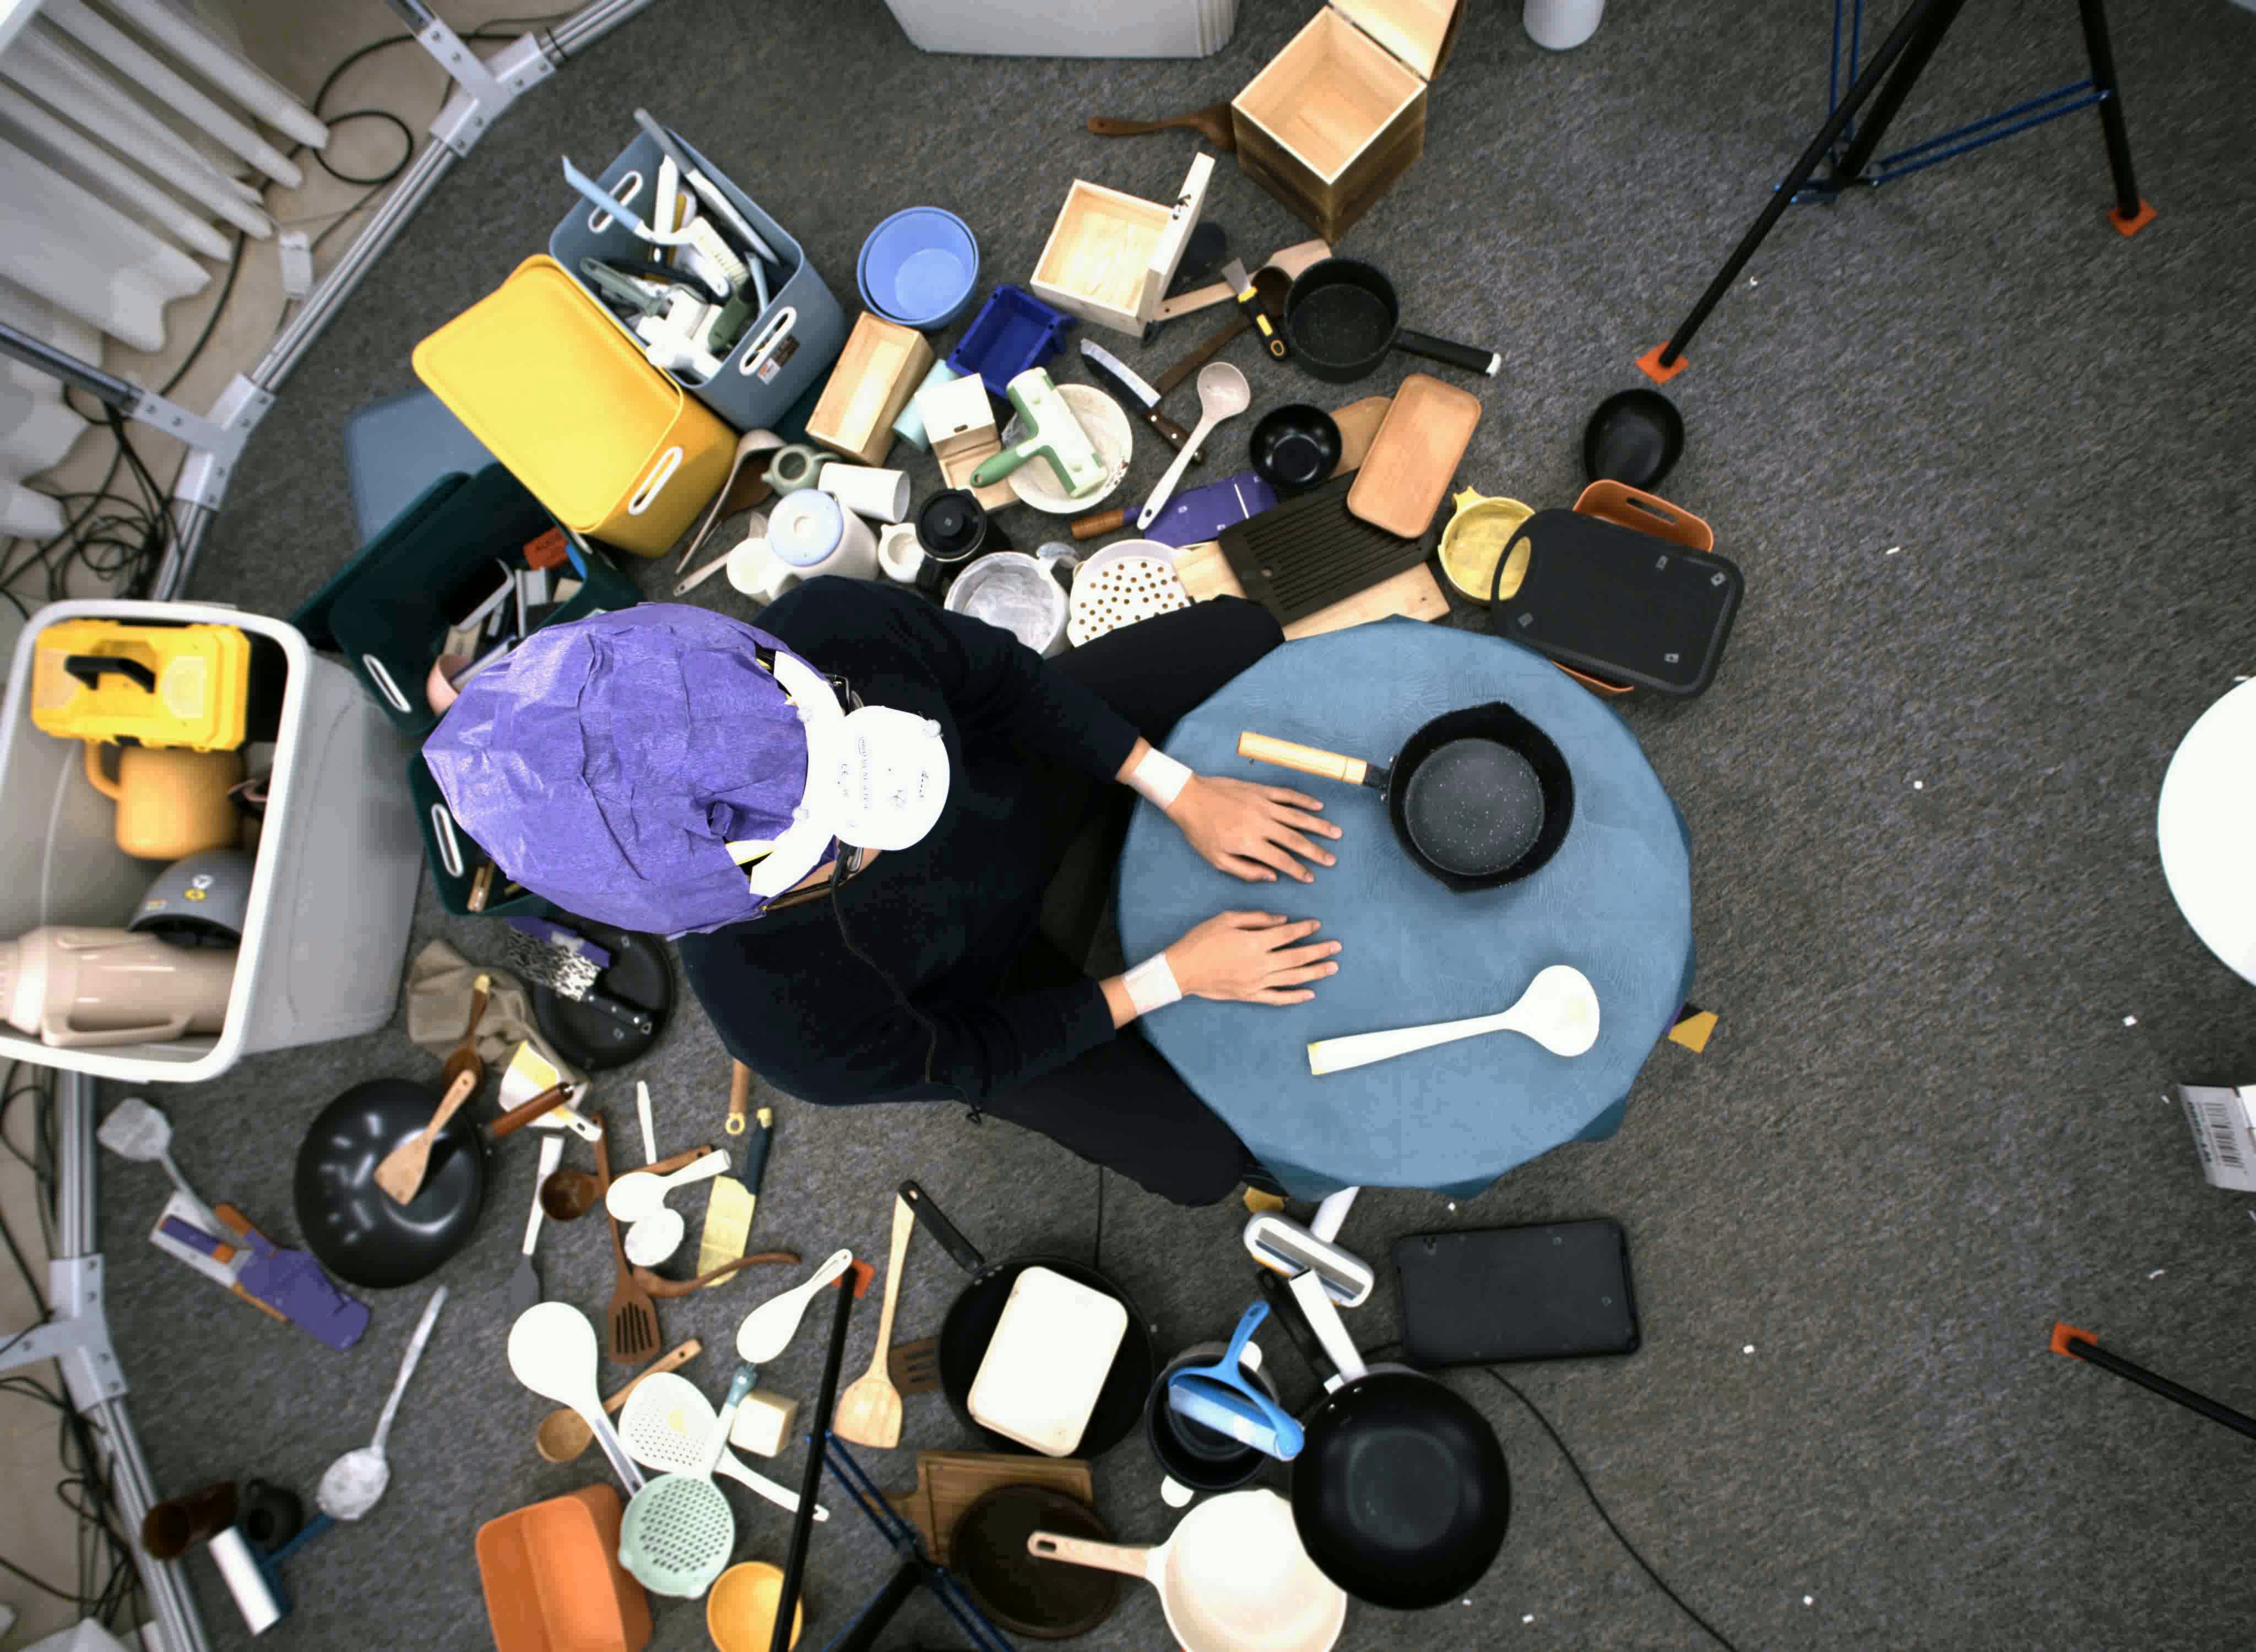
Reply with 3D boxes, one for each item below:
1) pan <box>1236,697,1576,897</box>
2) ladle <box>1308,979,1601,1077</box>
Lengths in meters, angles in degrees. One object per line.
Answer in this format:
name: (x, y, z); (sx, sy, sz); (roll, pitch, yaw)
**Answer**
pan: (0.279, -0.043, 1.410); (0.343, 0.108, 0.207); (12, 89, 10)
ladle: (0.329, 0.217, 1.408); (0.294, 0.069, 0.090); (-11, 90, 10)
